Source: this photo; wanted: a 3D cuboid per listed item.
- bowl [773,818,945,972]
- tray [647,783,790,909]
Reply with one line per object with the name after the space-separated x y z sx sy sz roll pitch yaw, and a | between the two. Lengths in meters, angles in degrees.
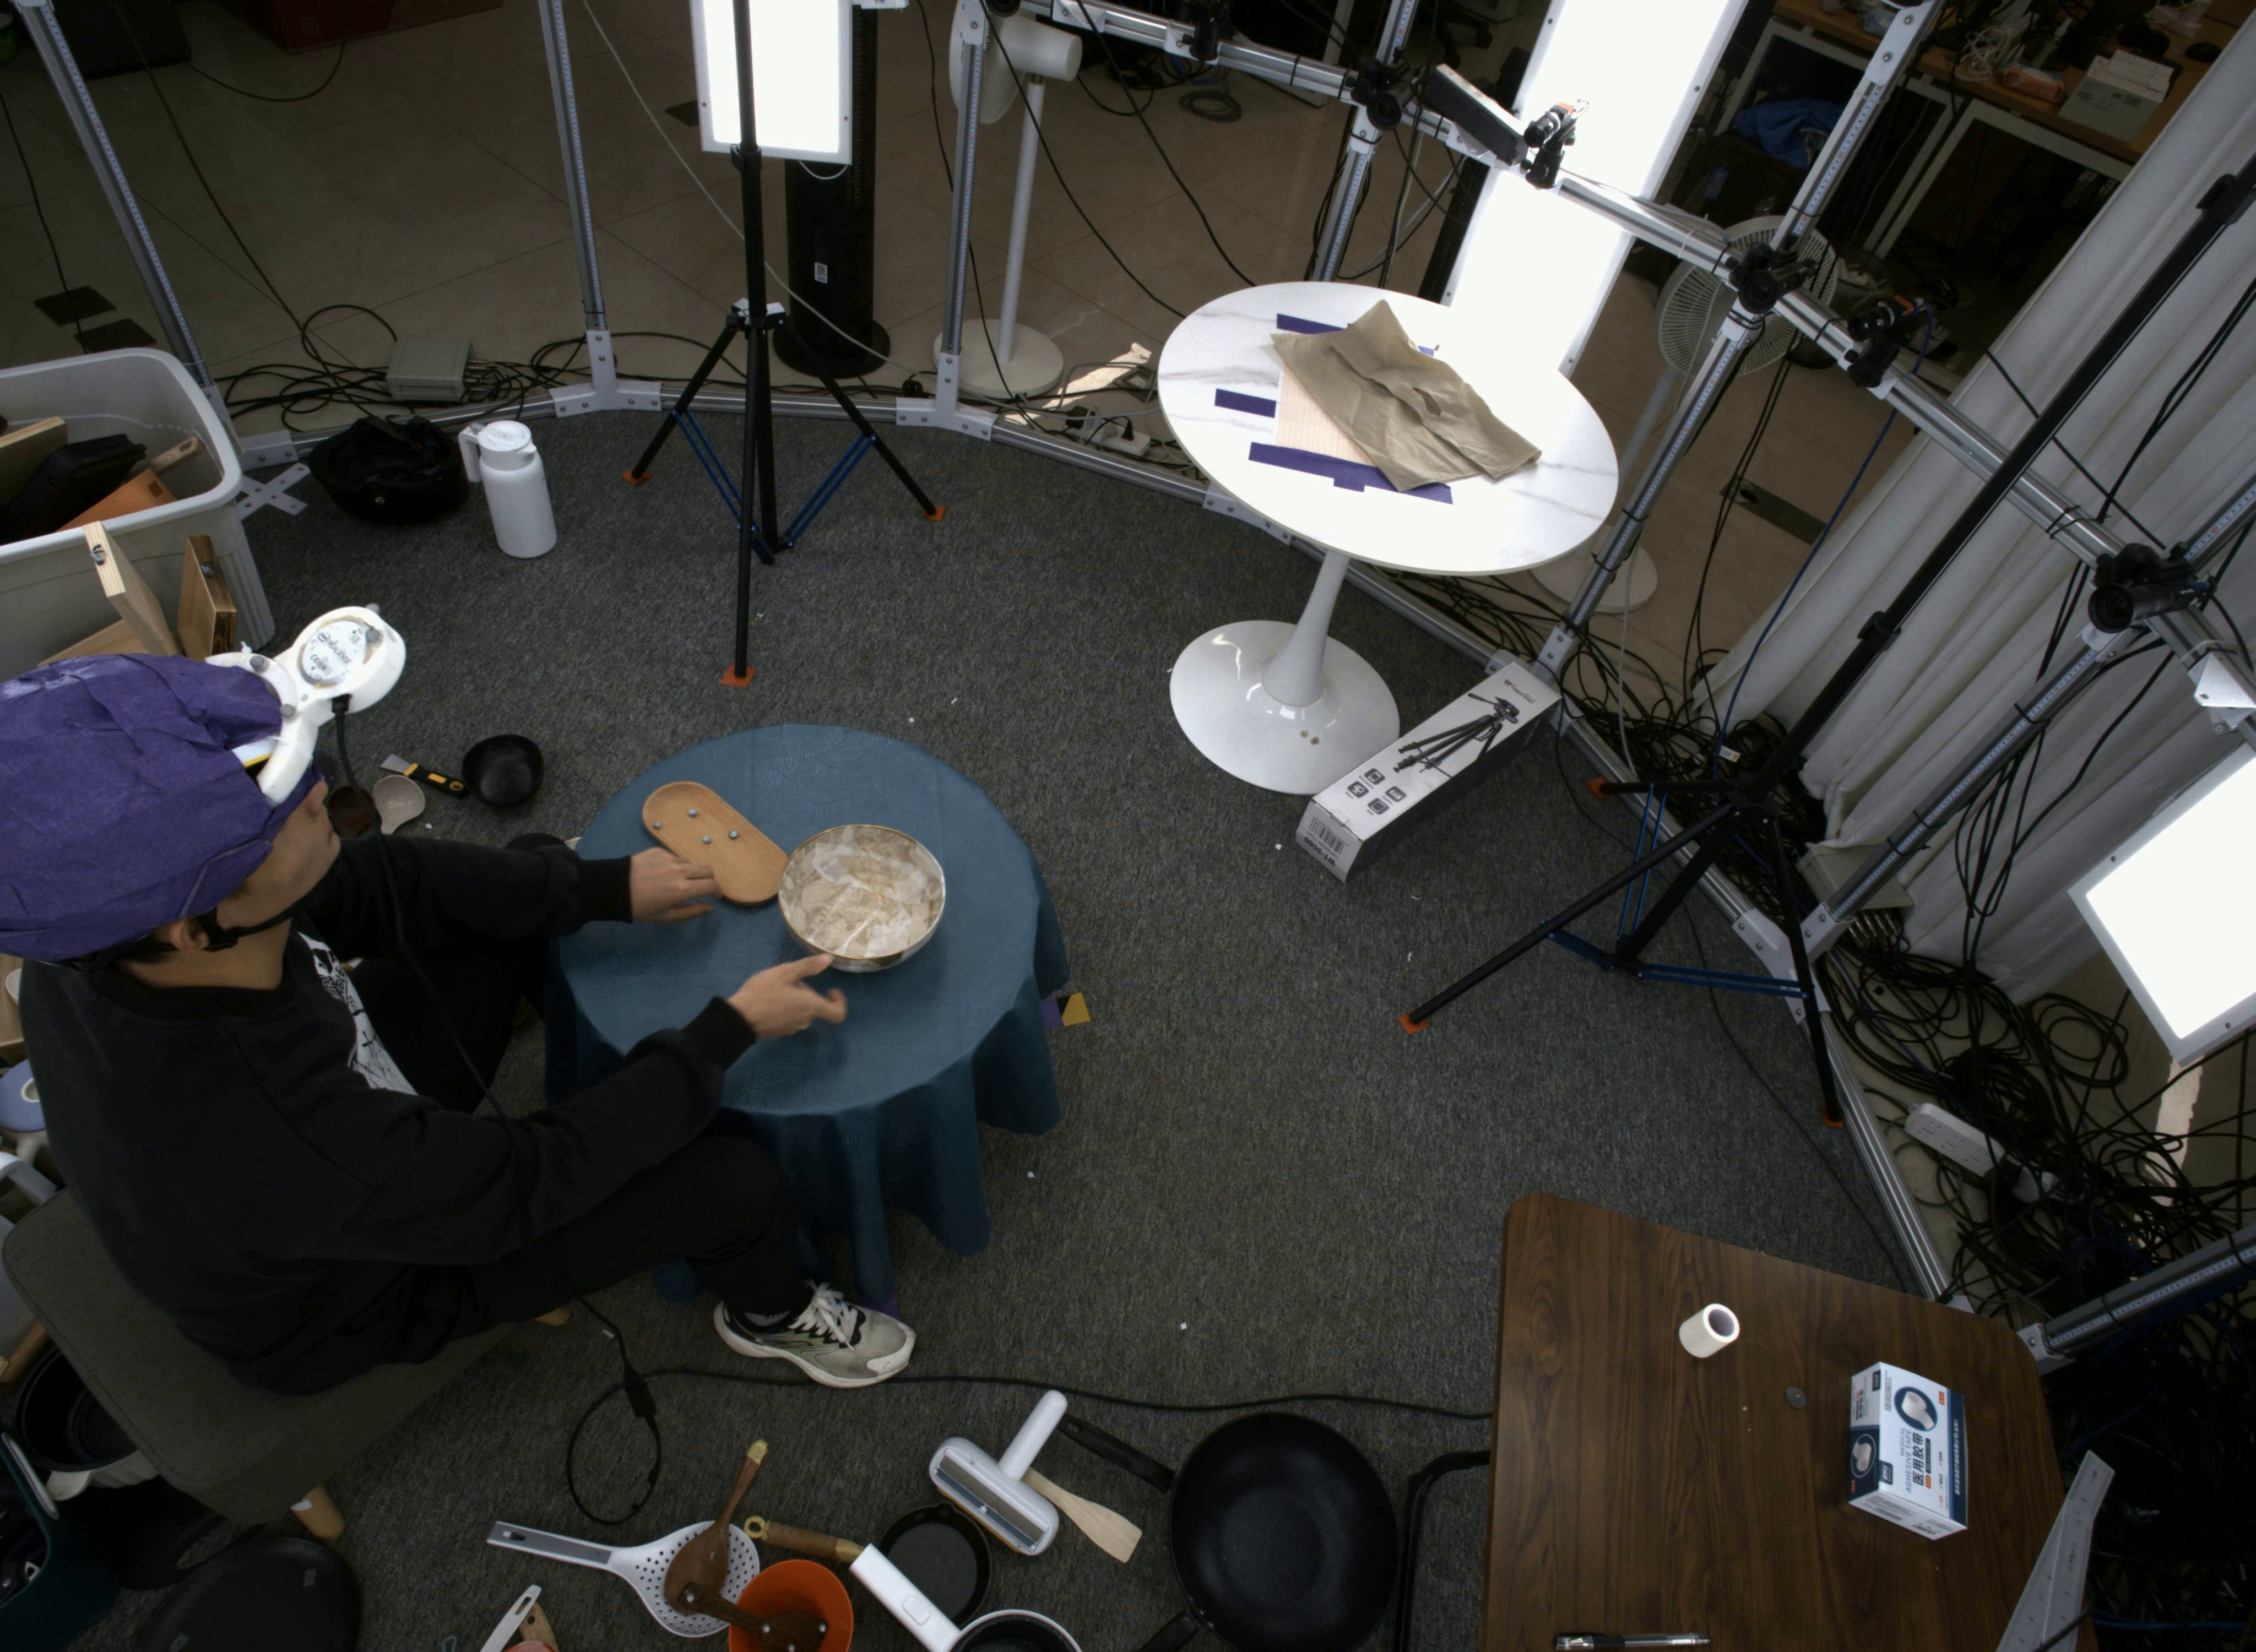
-0.334 0.099 1.619 0.214 0.096 0.211 7 54 -8 | bowl
-0.529 0.023 1.675 0.227 0.020 0.101 37 56 11 | tray
